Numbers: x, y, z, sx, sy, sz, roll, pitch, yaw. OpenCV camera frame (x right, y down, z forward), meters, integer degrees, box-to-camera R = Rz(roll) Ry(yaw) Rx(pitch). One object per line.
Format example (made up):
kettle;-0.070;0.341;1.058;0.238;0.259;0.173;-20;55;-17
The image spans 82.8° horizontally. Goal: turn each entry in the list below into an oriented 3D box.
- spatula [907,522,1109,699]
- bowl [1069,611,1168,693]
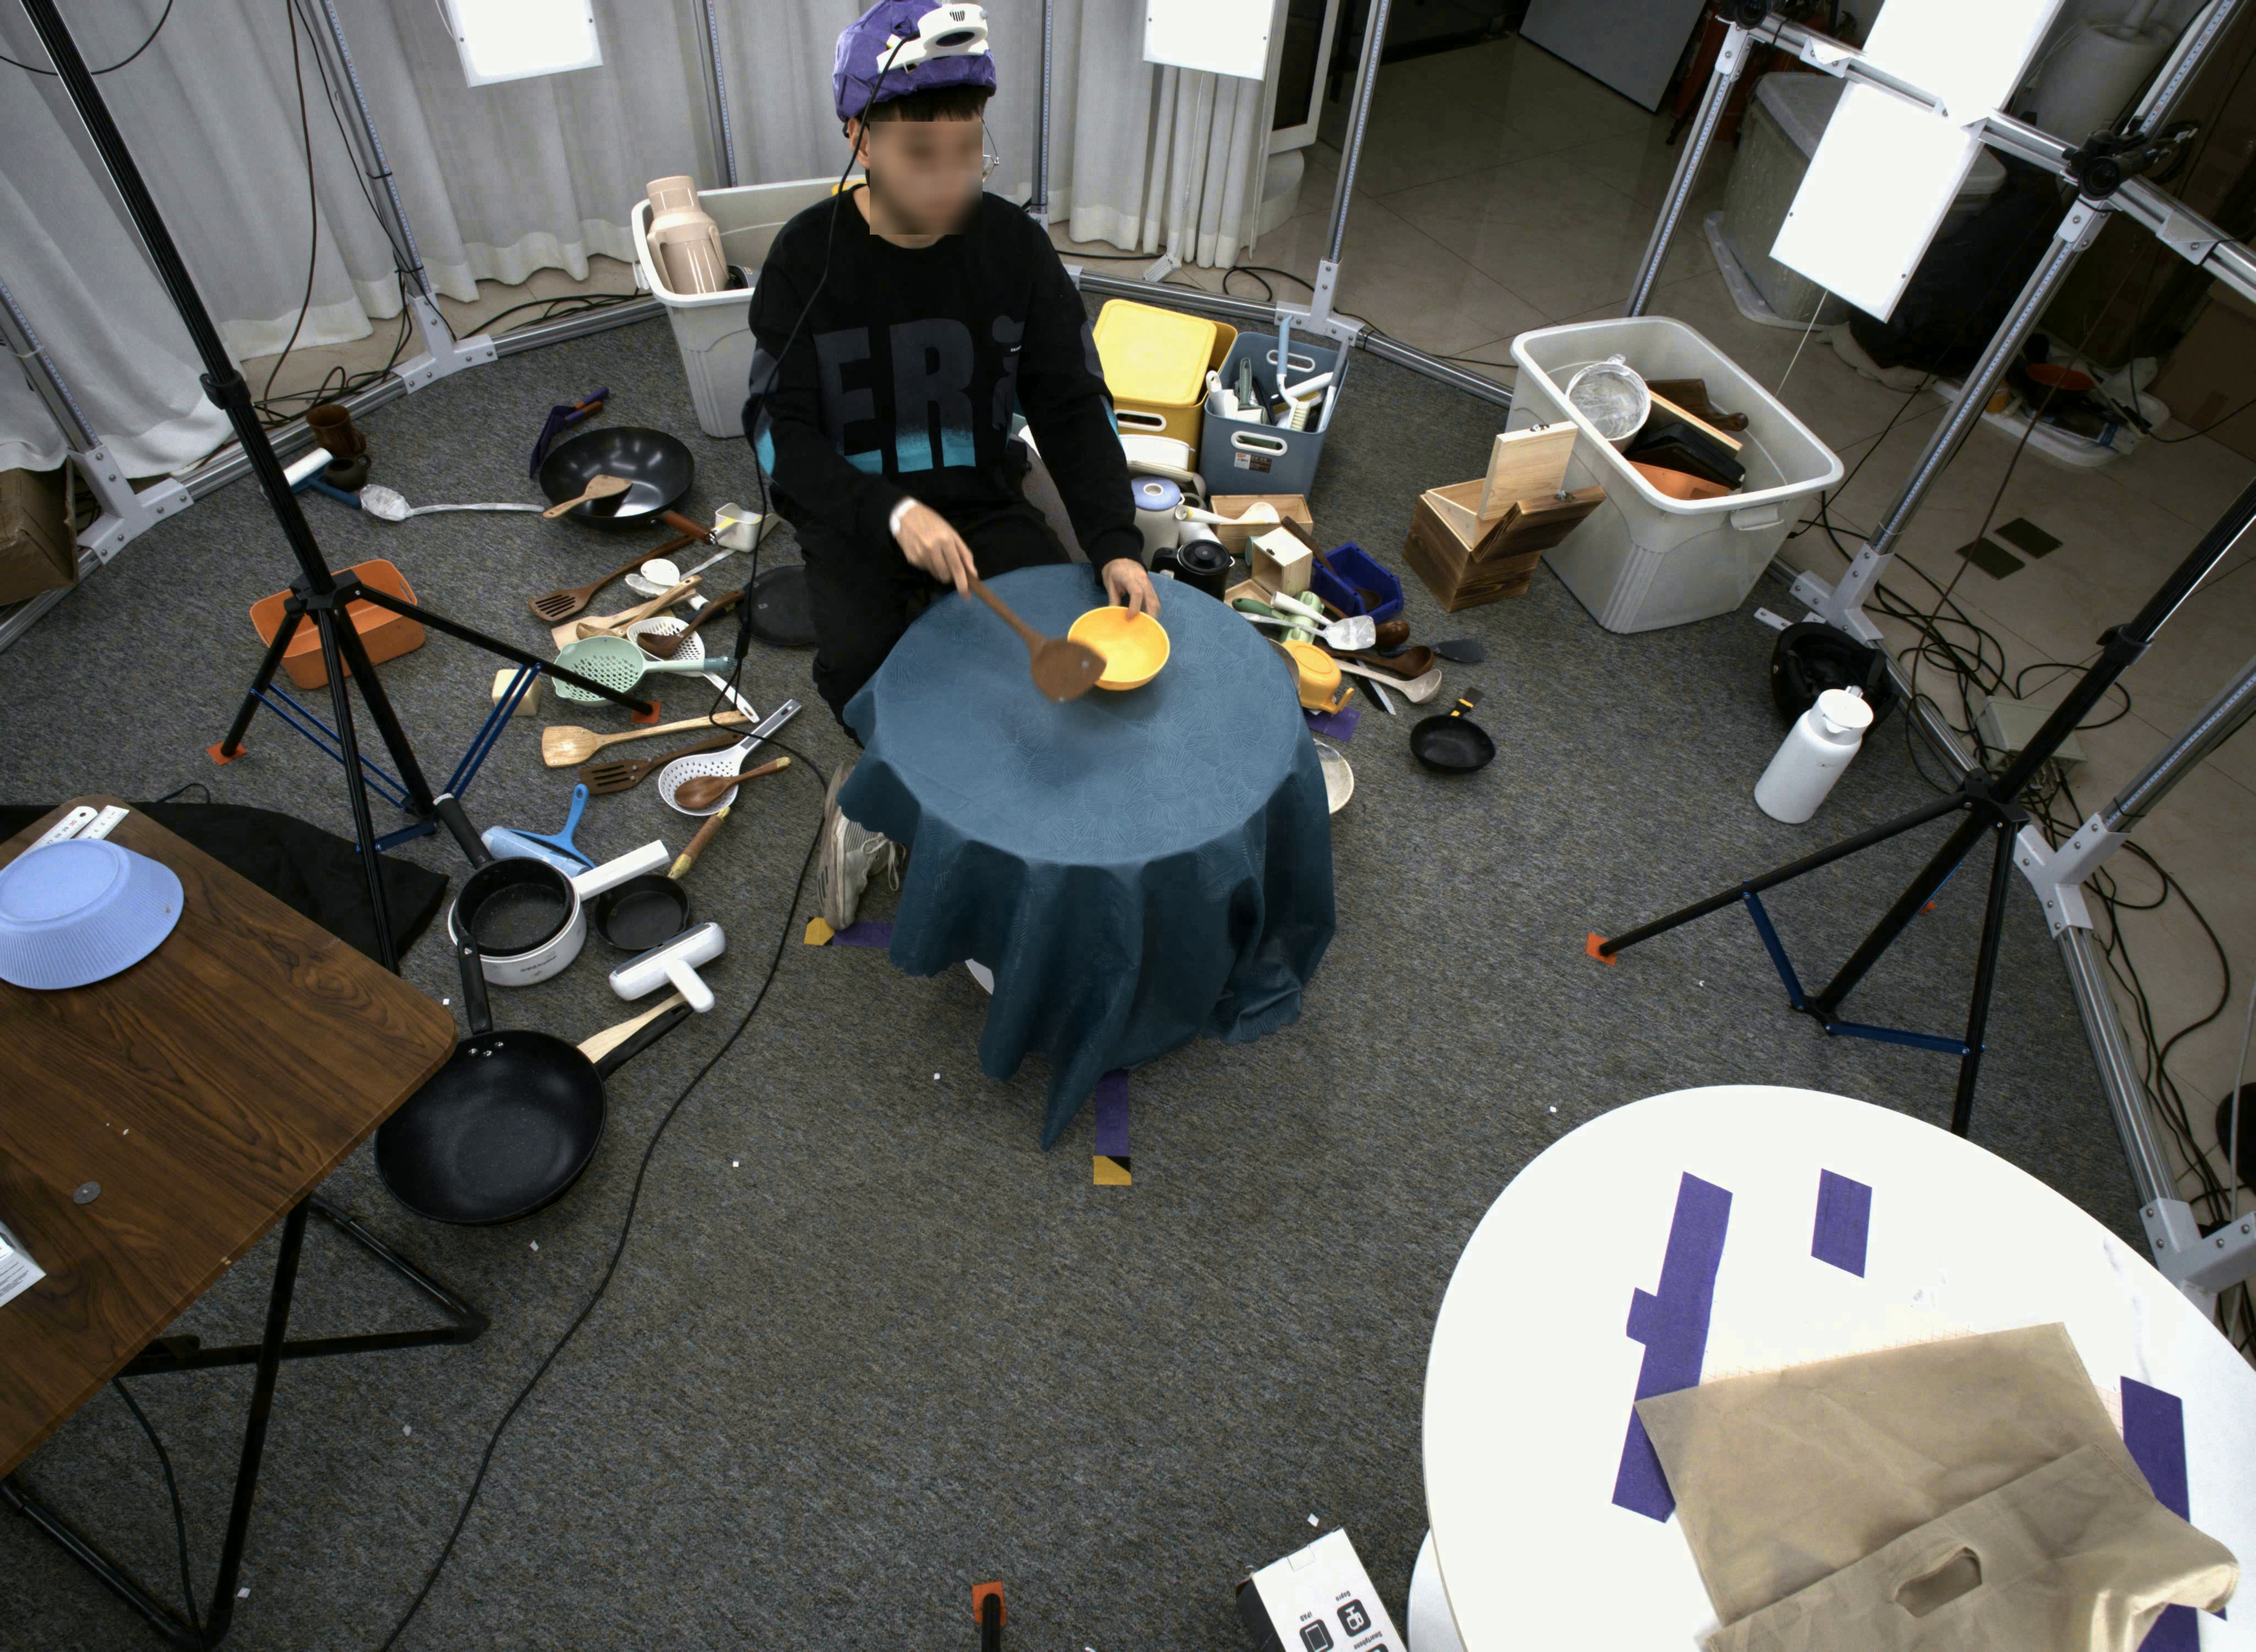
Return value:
spatula;-0.180;-0.309;1.772;0.096;0.015;0.391;-41;67;-14
bowl;-0.017;-0.240;1.854;0.145;0.059;0.149;4;51;-5
